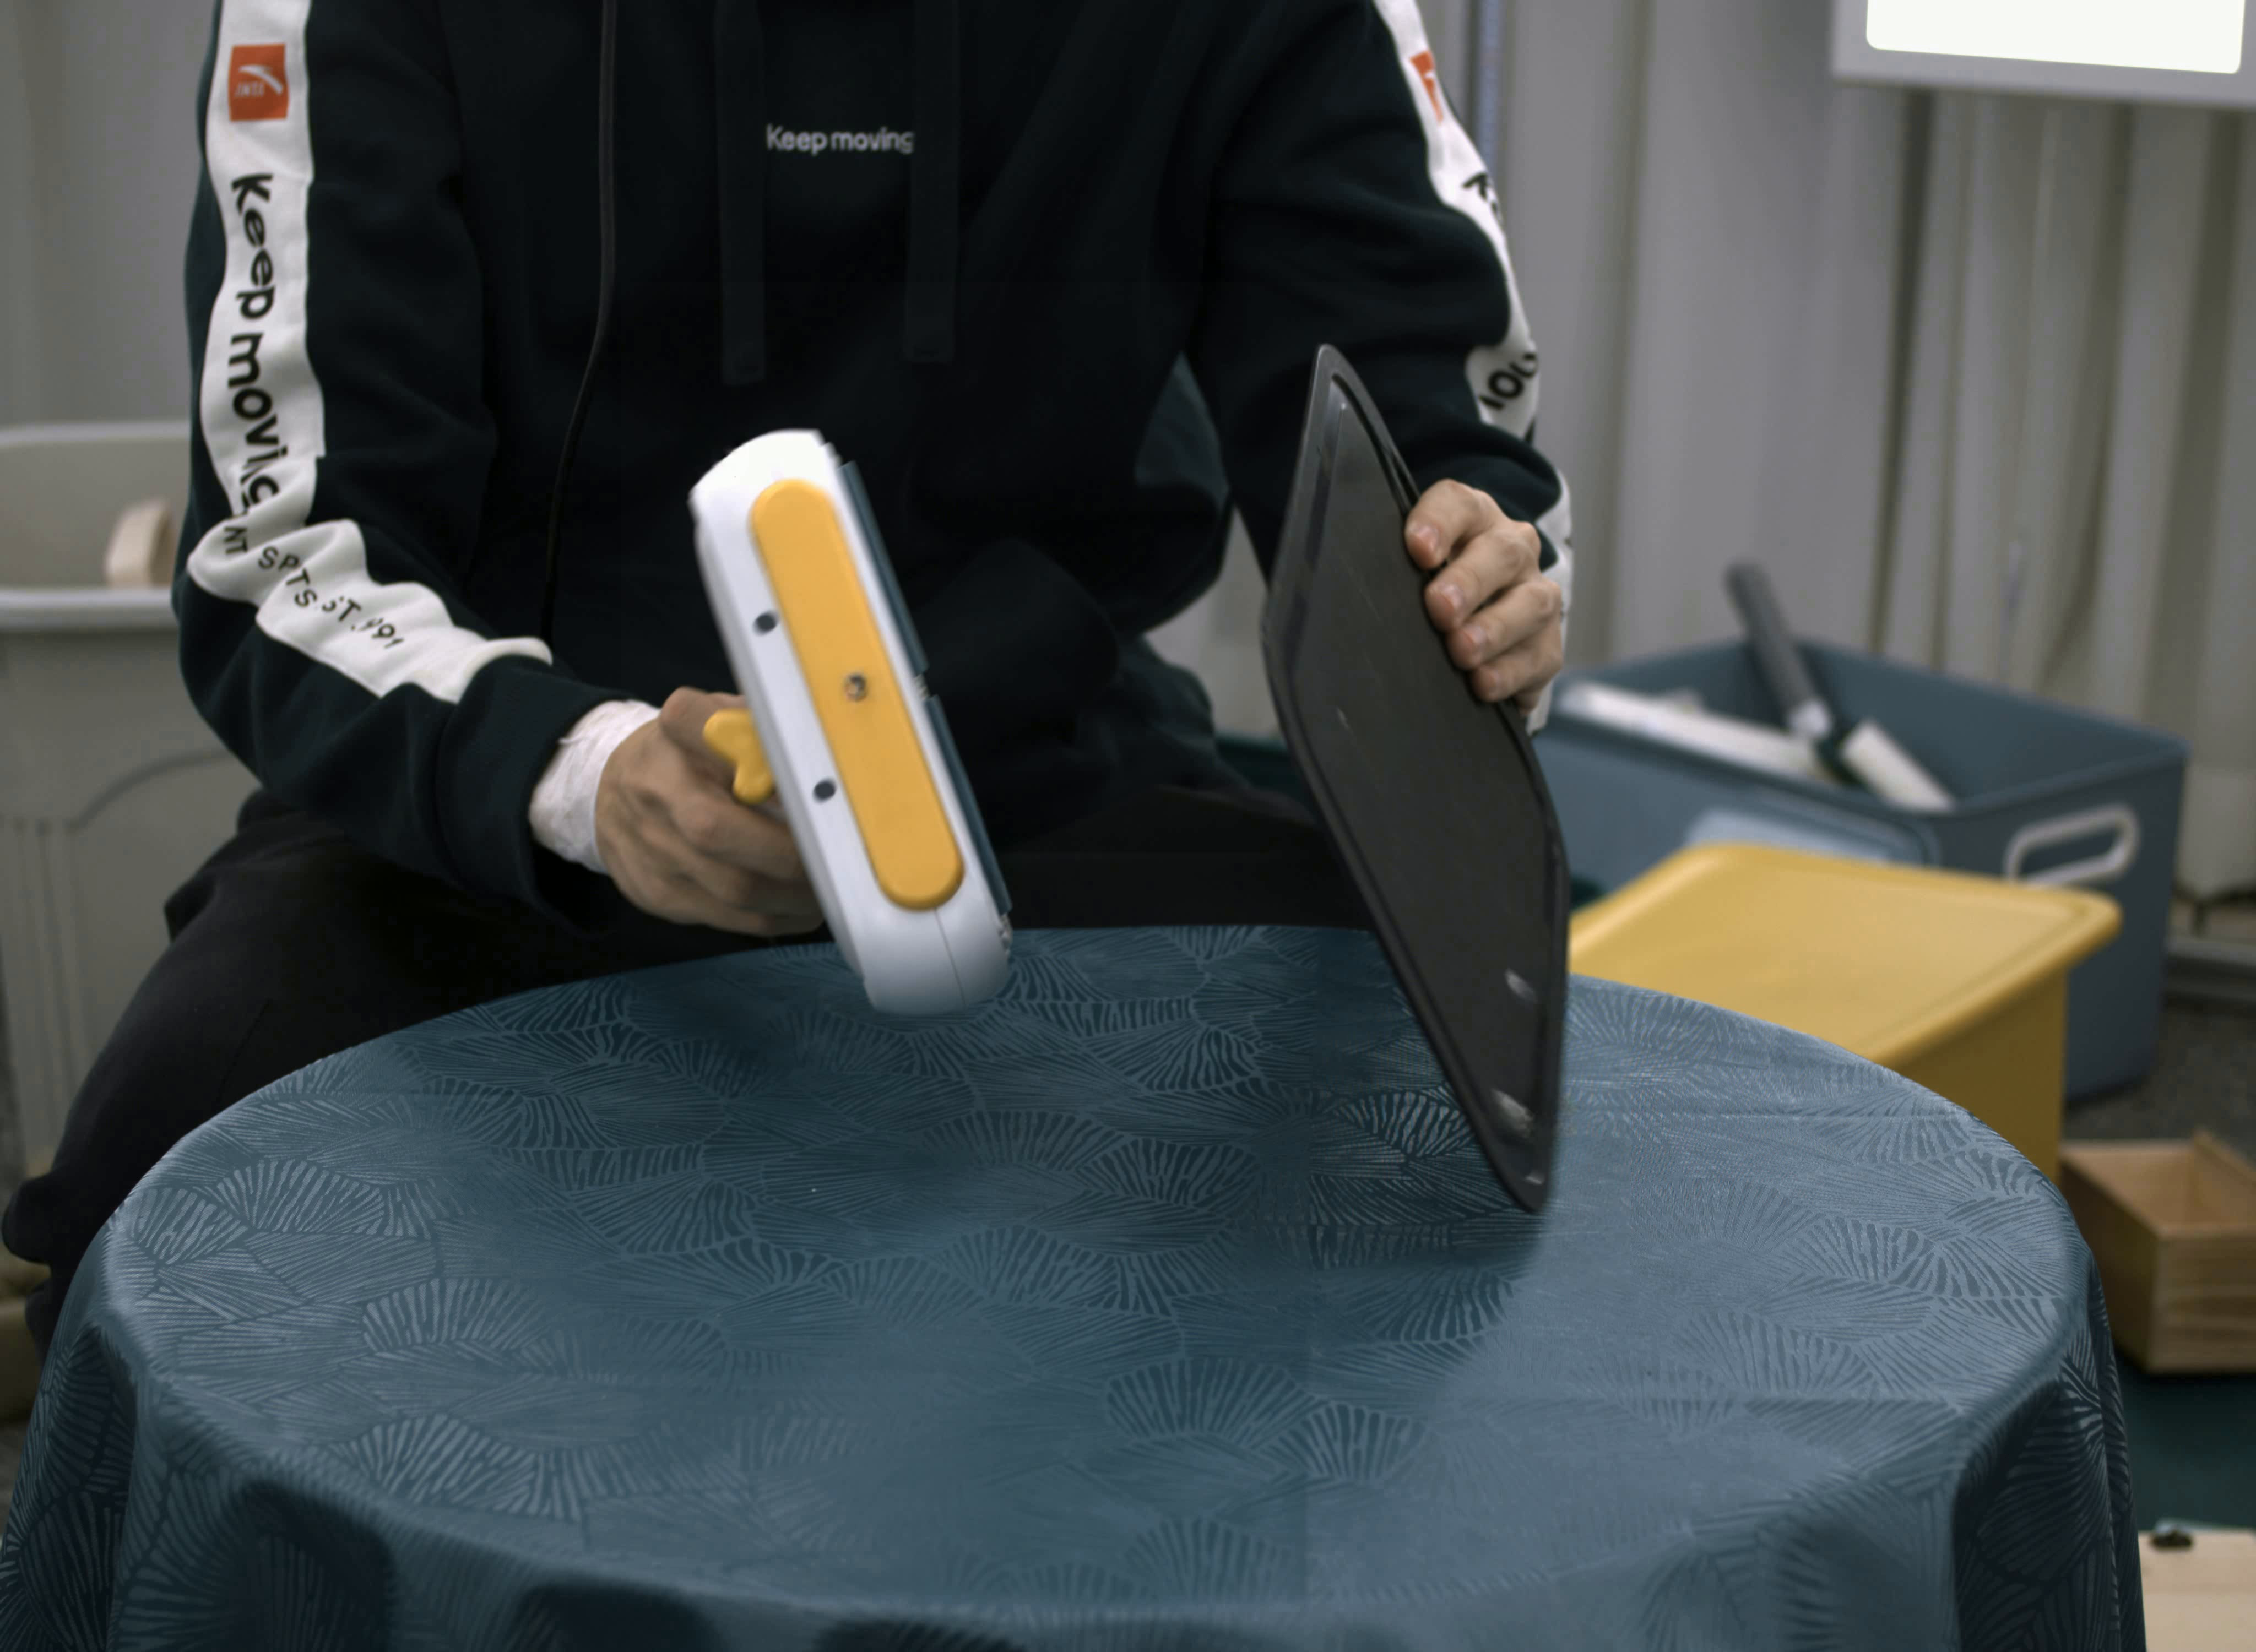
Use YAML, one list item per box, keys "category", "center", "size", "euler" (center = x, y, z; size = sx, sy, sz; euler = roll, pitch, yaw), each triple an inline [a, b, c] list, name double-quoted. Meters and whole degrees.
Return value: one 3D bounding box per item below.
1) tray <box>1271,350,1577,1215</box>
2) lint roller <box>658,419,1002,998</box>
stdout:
- category: "tray"
  center: [0.098, -0.025, 1.662]
  size: [0.010, 0.213, 0.323]
  euler: [-22, 21, 15]
- category: "lint roller"
  center: [-0.103, -0.013, 1.702]
  size: [0.074, 0.192, 0.193]
  euler: [-24, -16, -13]
